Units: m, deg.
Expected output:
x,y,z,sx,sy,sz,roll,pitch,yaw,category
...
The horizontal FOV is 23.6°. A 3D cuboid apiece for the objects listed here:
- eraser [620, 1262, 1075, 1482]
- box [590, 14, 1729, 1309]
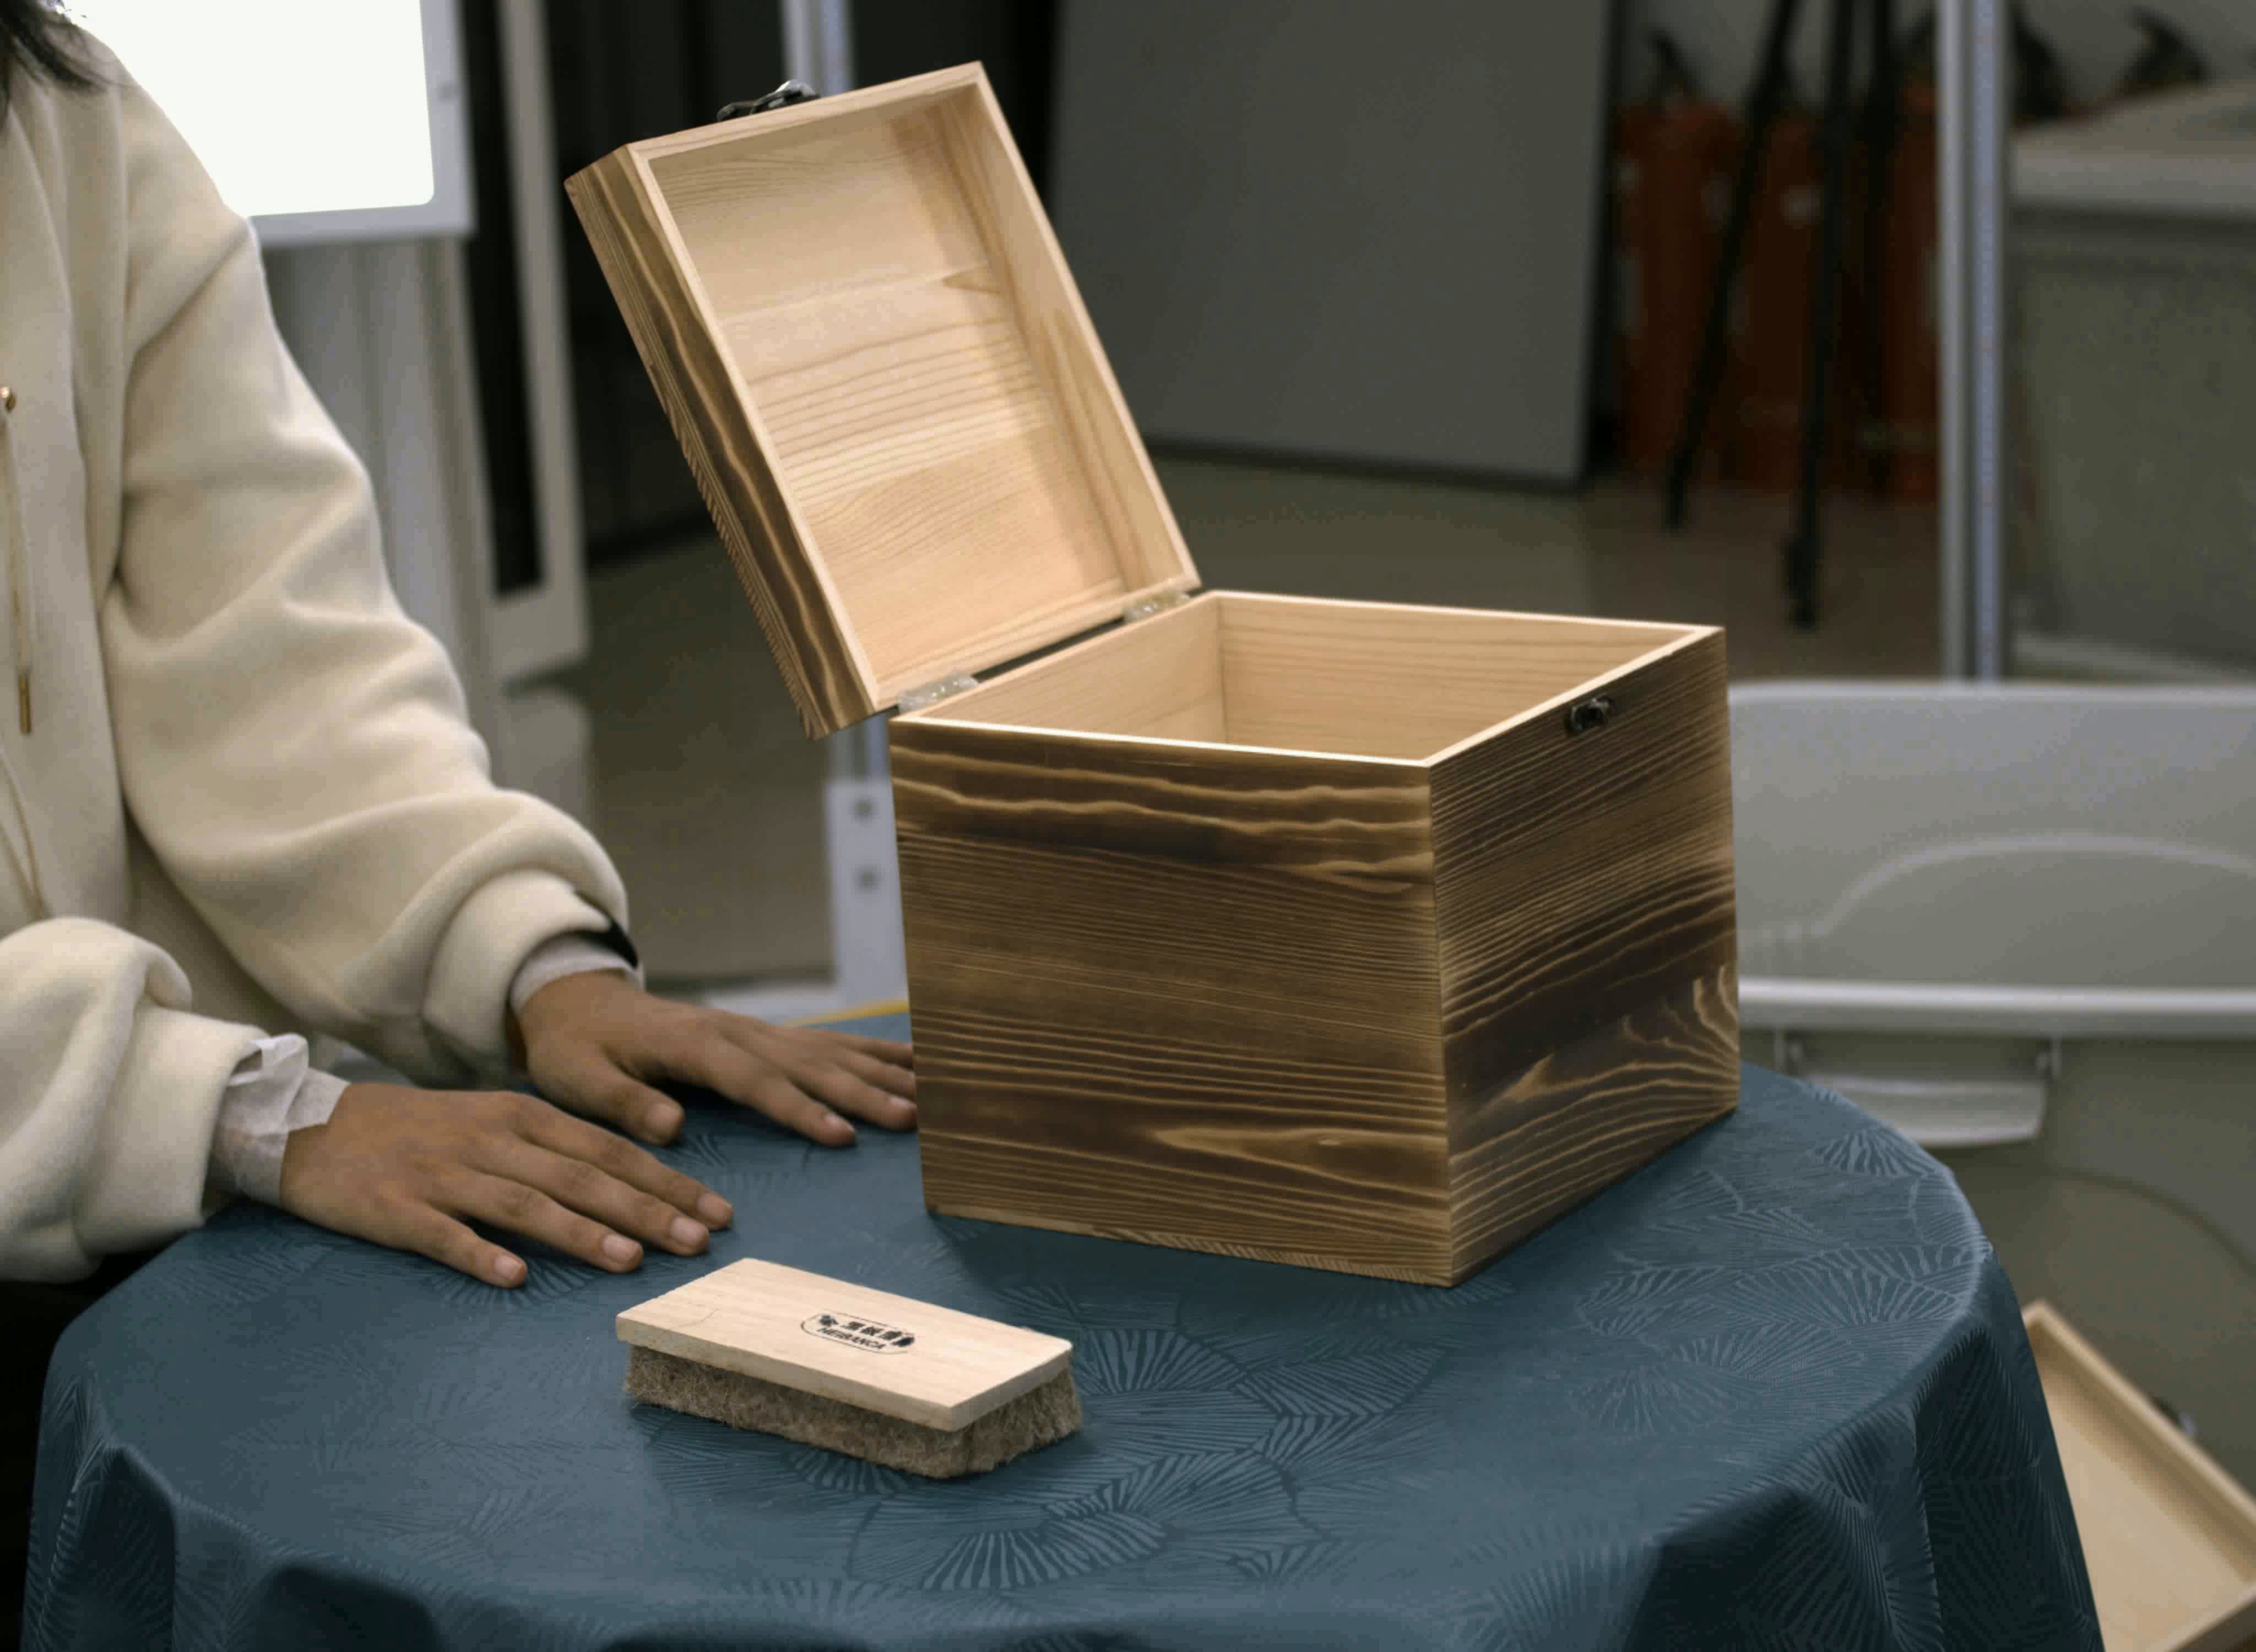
x,y,z,sx,sy,sz,roll,pitch,yaw,category
-0.082,0.160,1.577,0.140,0.029,0.056,8,21,44,eraser
0.015,-0.069,1.770,0.324,0.379,0.205,5,17,33,box
